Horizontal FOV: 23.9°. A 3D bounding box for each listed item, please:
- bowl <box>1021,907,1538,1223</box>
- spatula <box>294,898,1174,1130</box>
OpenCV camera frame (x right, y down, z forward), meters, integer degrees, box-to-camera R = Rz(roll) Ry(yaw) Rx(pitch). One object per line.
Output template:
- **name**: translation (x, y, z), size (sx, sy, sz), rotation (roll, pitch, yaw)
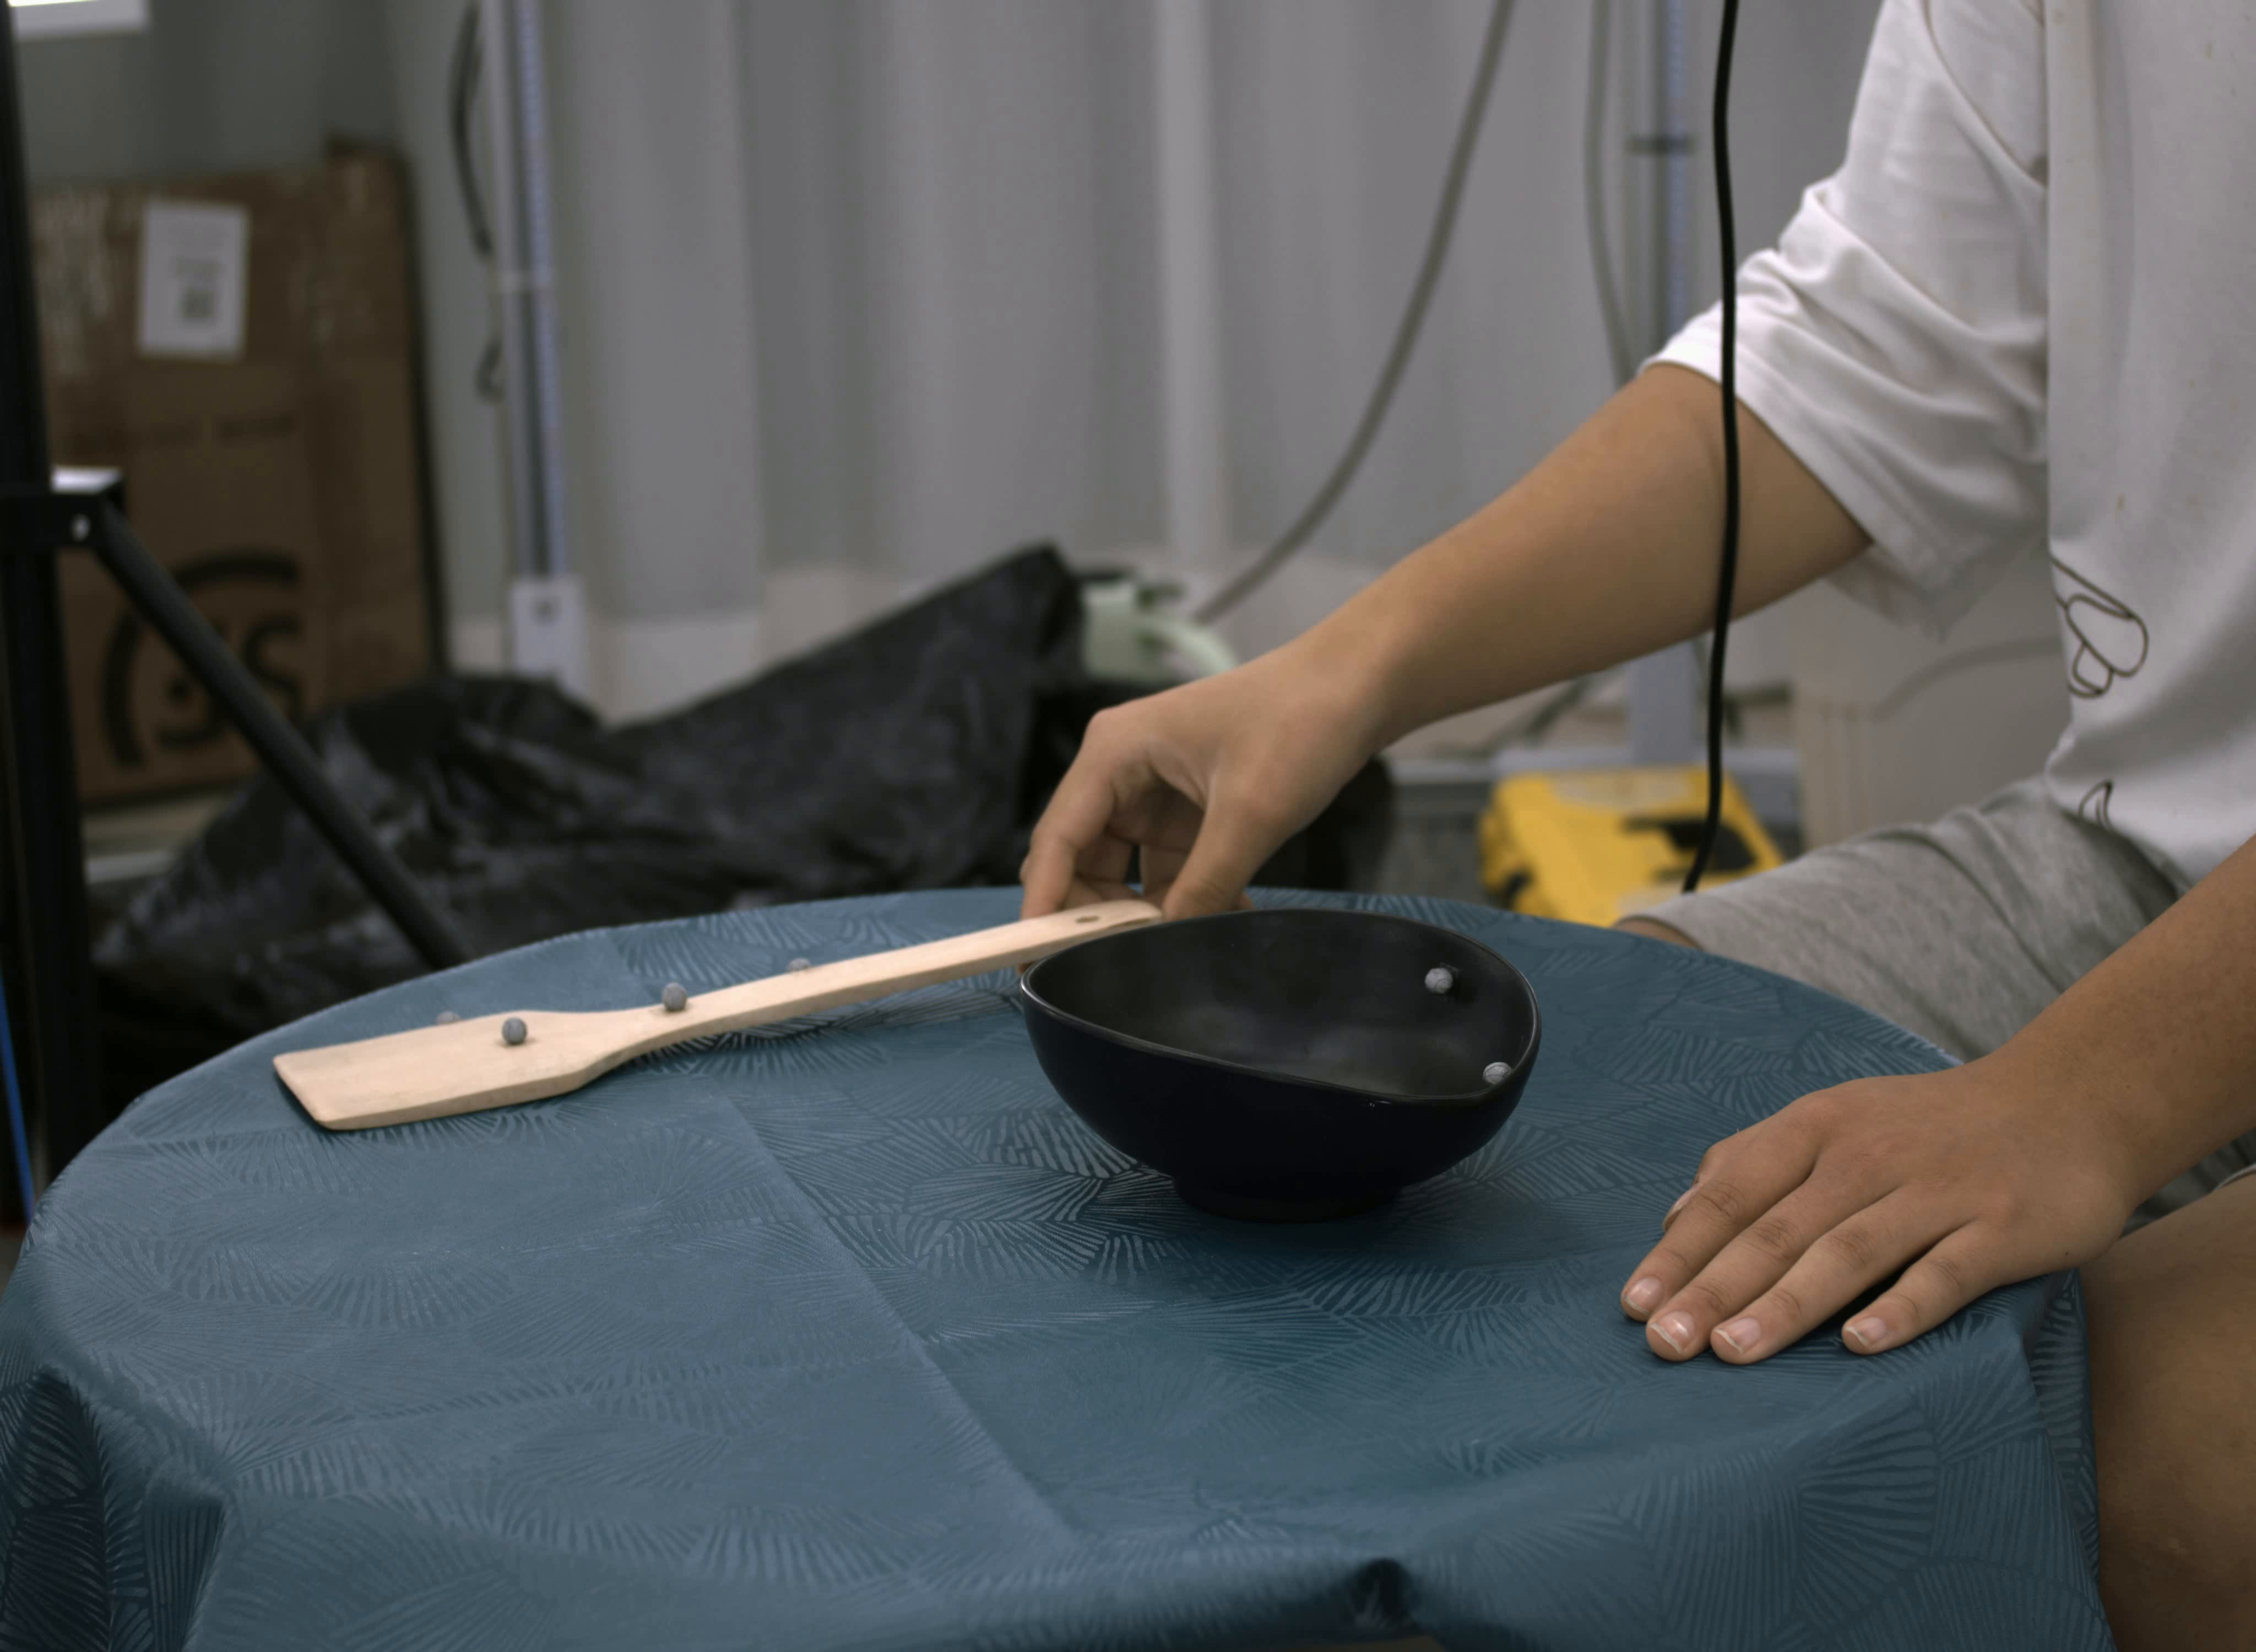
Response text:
- **bowl**: translation (0.045, 0.074, 1.554), size (0.134, 0.067, 0.174), rotation (-16, 22, -41)
- **spatula**: translation (-0.121, 0.057, 1.715), size (0.288, 0.010, 0.073), rotation (-12, 18, -17)
